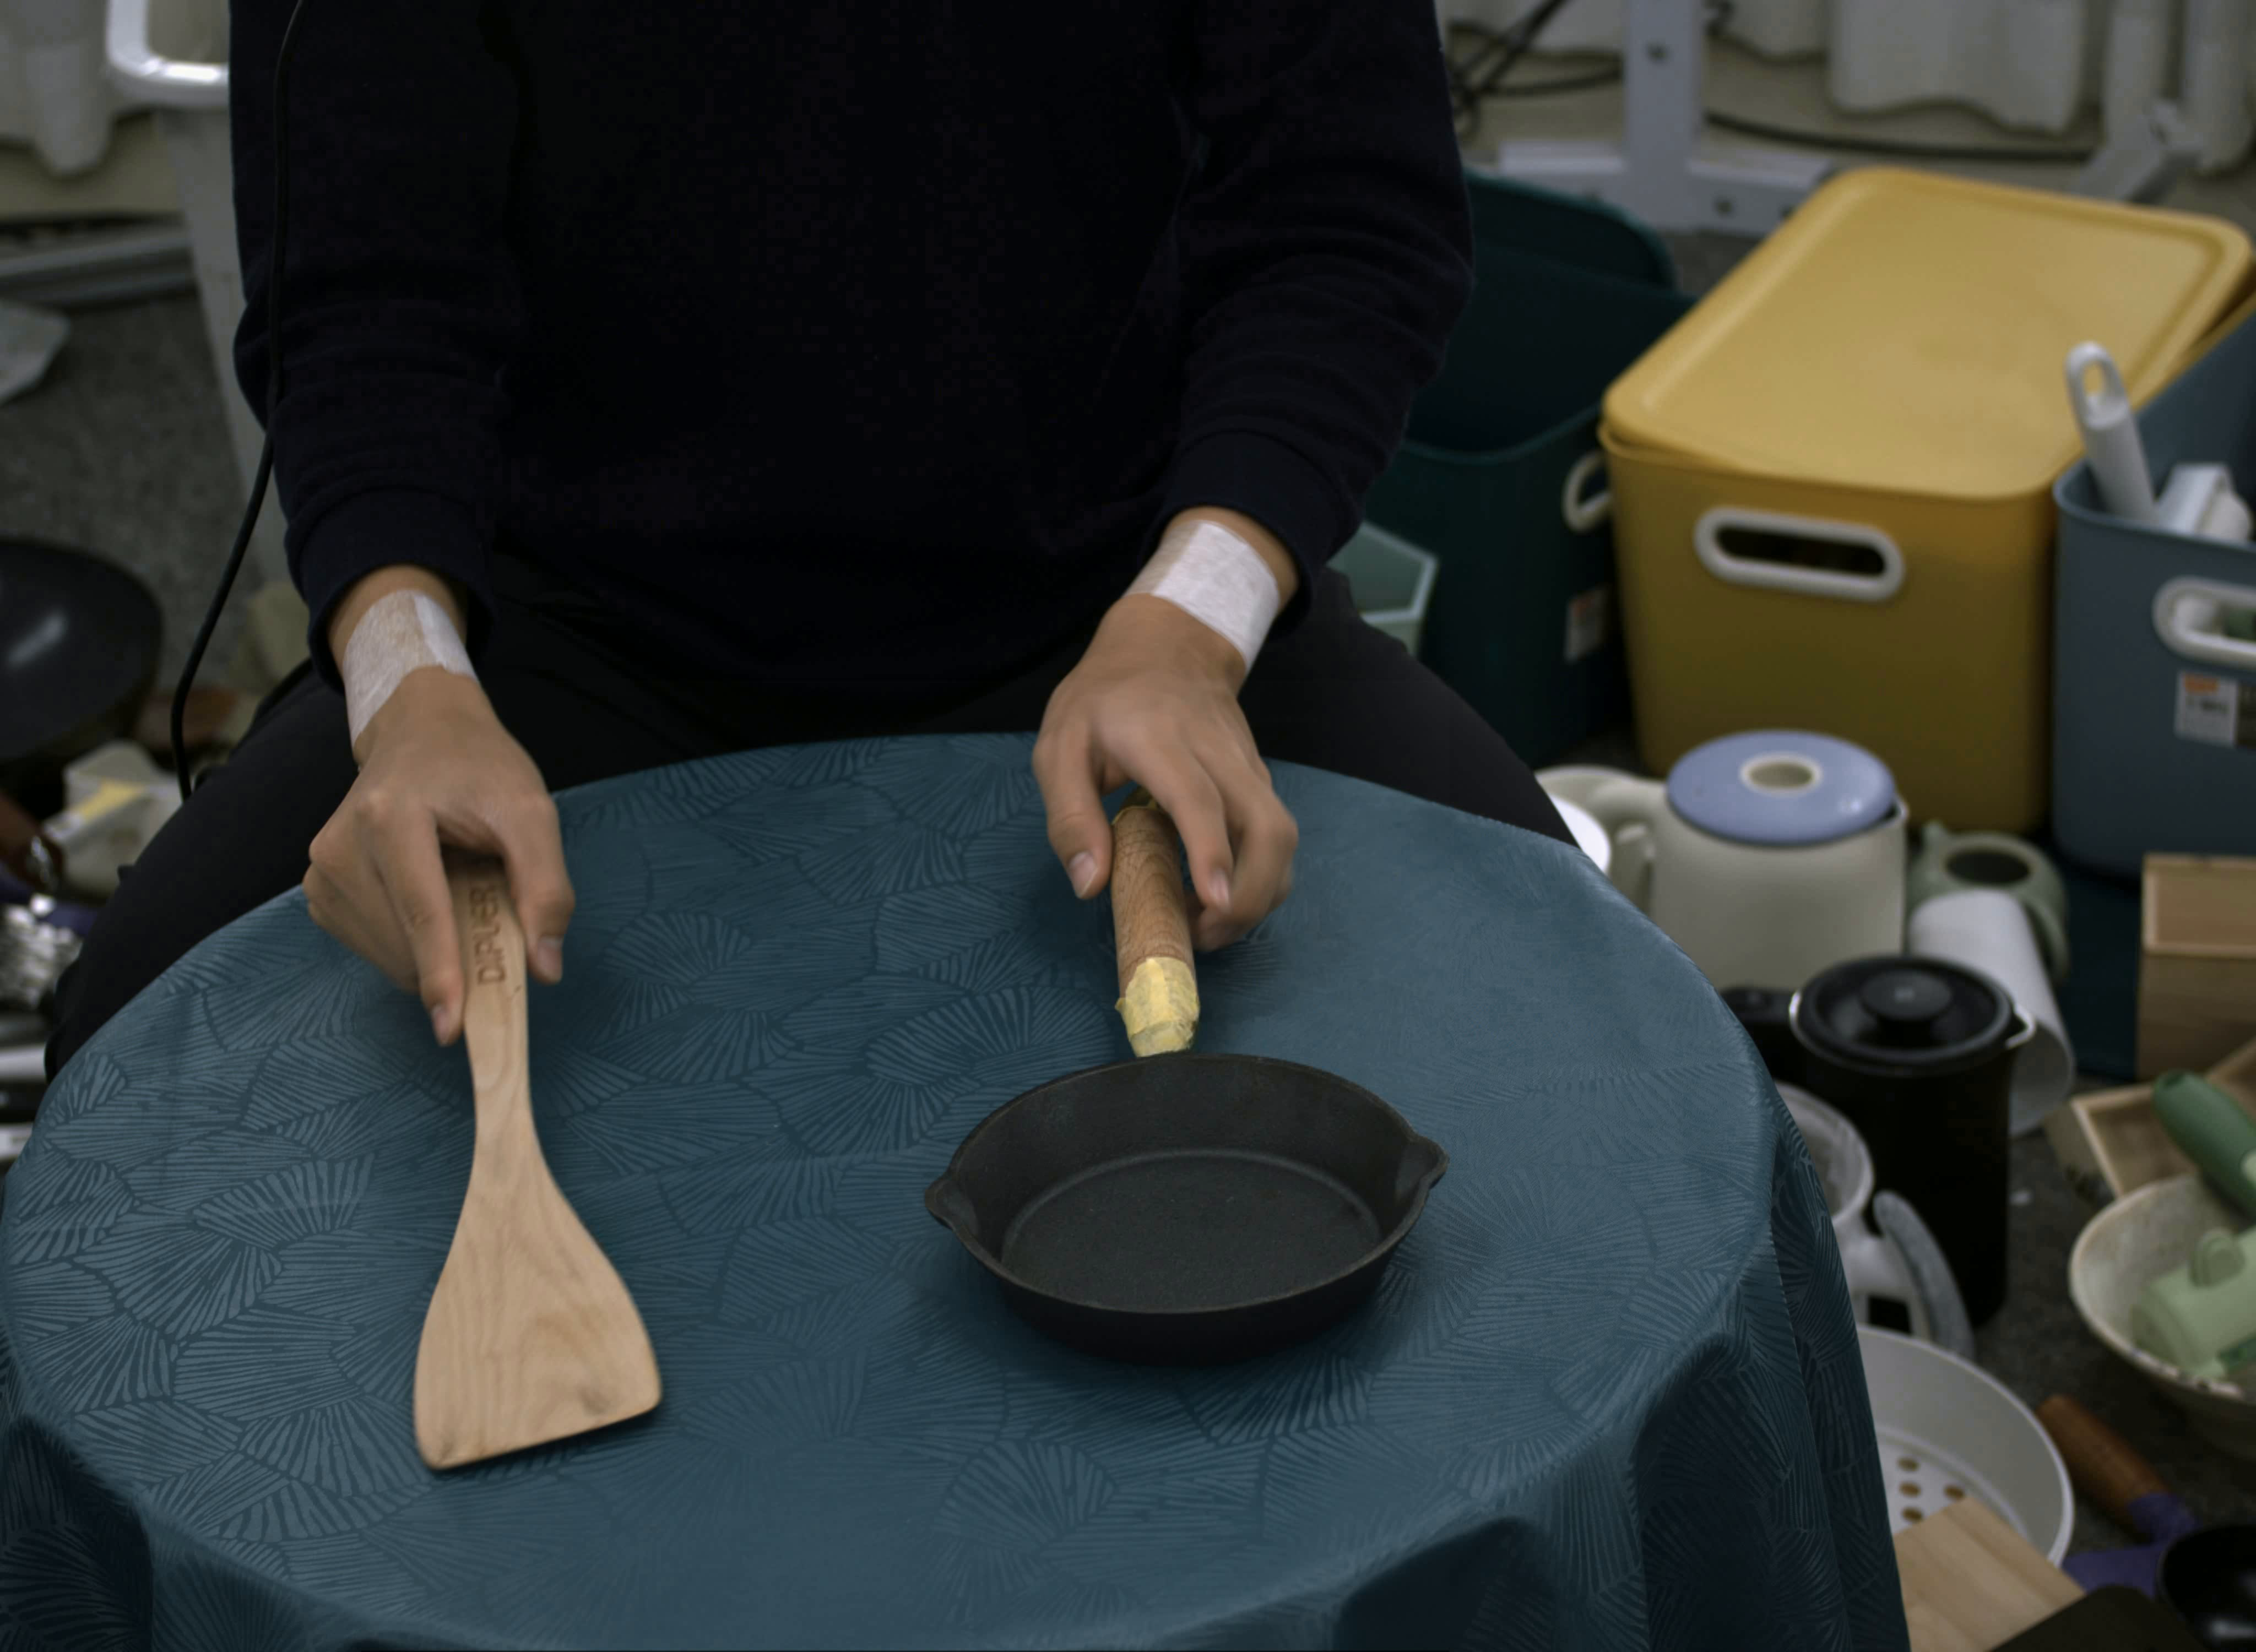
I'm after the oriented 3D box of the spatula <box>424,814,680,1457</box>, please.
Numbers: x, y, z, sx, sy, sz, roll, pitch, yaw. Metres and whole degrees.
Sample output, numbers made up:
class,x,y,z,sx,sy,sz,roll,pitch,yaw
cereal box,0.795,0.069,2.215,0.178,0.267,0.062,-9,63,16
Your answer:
class,x,y,z,sx,sy,sz,roll,pitch,yaw
spatula,-0.203,0.096,1.862,0.080,0.016,0.333,-5,39,-8

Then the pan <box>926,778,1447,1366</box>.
class,x,y,z,sx,sy,sz,roll,pitch,yaw
pan,0.016,0.080,1.887,0.168,0.049,0.329,-3,29,-1
